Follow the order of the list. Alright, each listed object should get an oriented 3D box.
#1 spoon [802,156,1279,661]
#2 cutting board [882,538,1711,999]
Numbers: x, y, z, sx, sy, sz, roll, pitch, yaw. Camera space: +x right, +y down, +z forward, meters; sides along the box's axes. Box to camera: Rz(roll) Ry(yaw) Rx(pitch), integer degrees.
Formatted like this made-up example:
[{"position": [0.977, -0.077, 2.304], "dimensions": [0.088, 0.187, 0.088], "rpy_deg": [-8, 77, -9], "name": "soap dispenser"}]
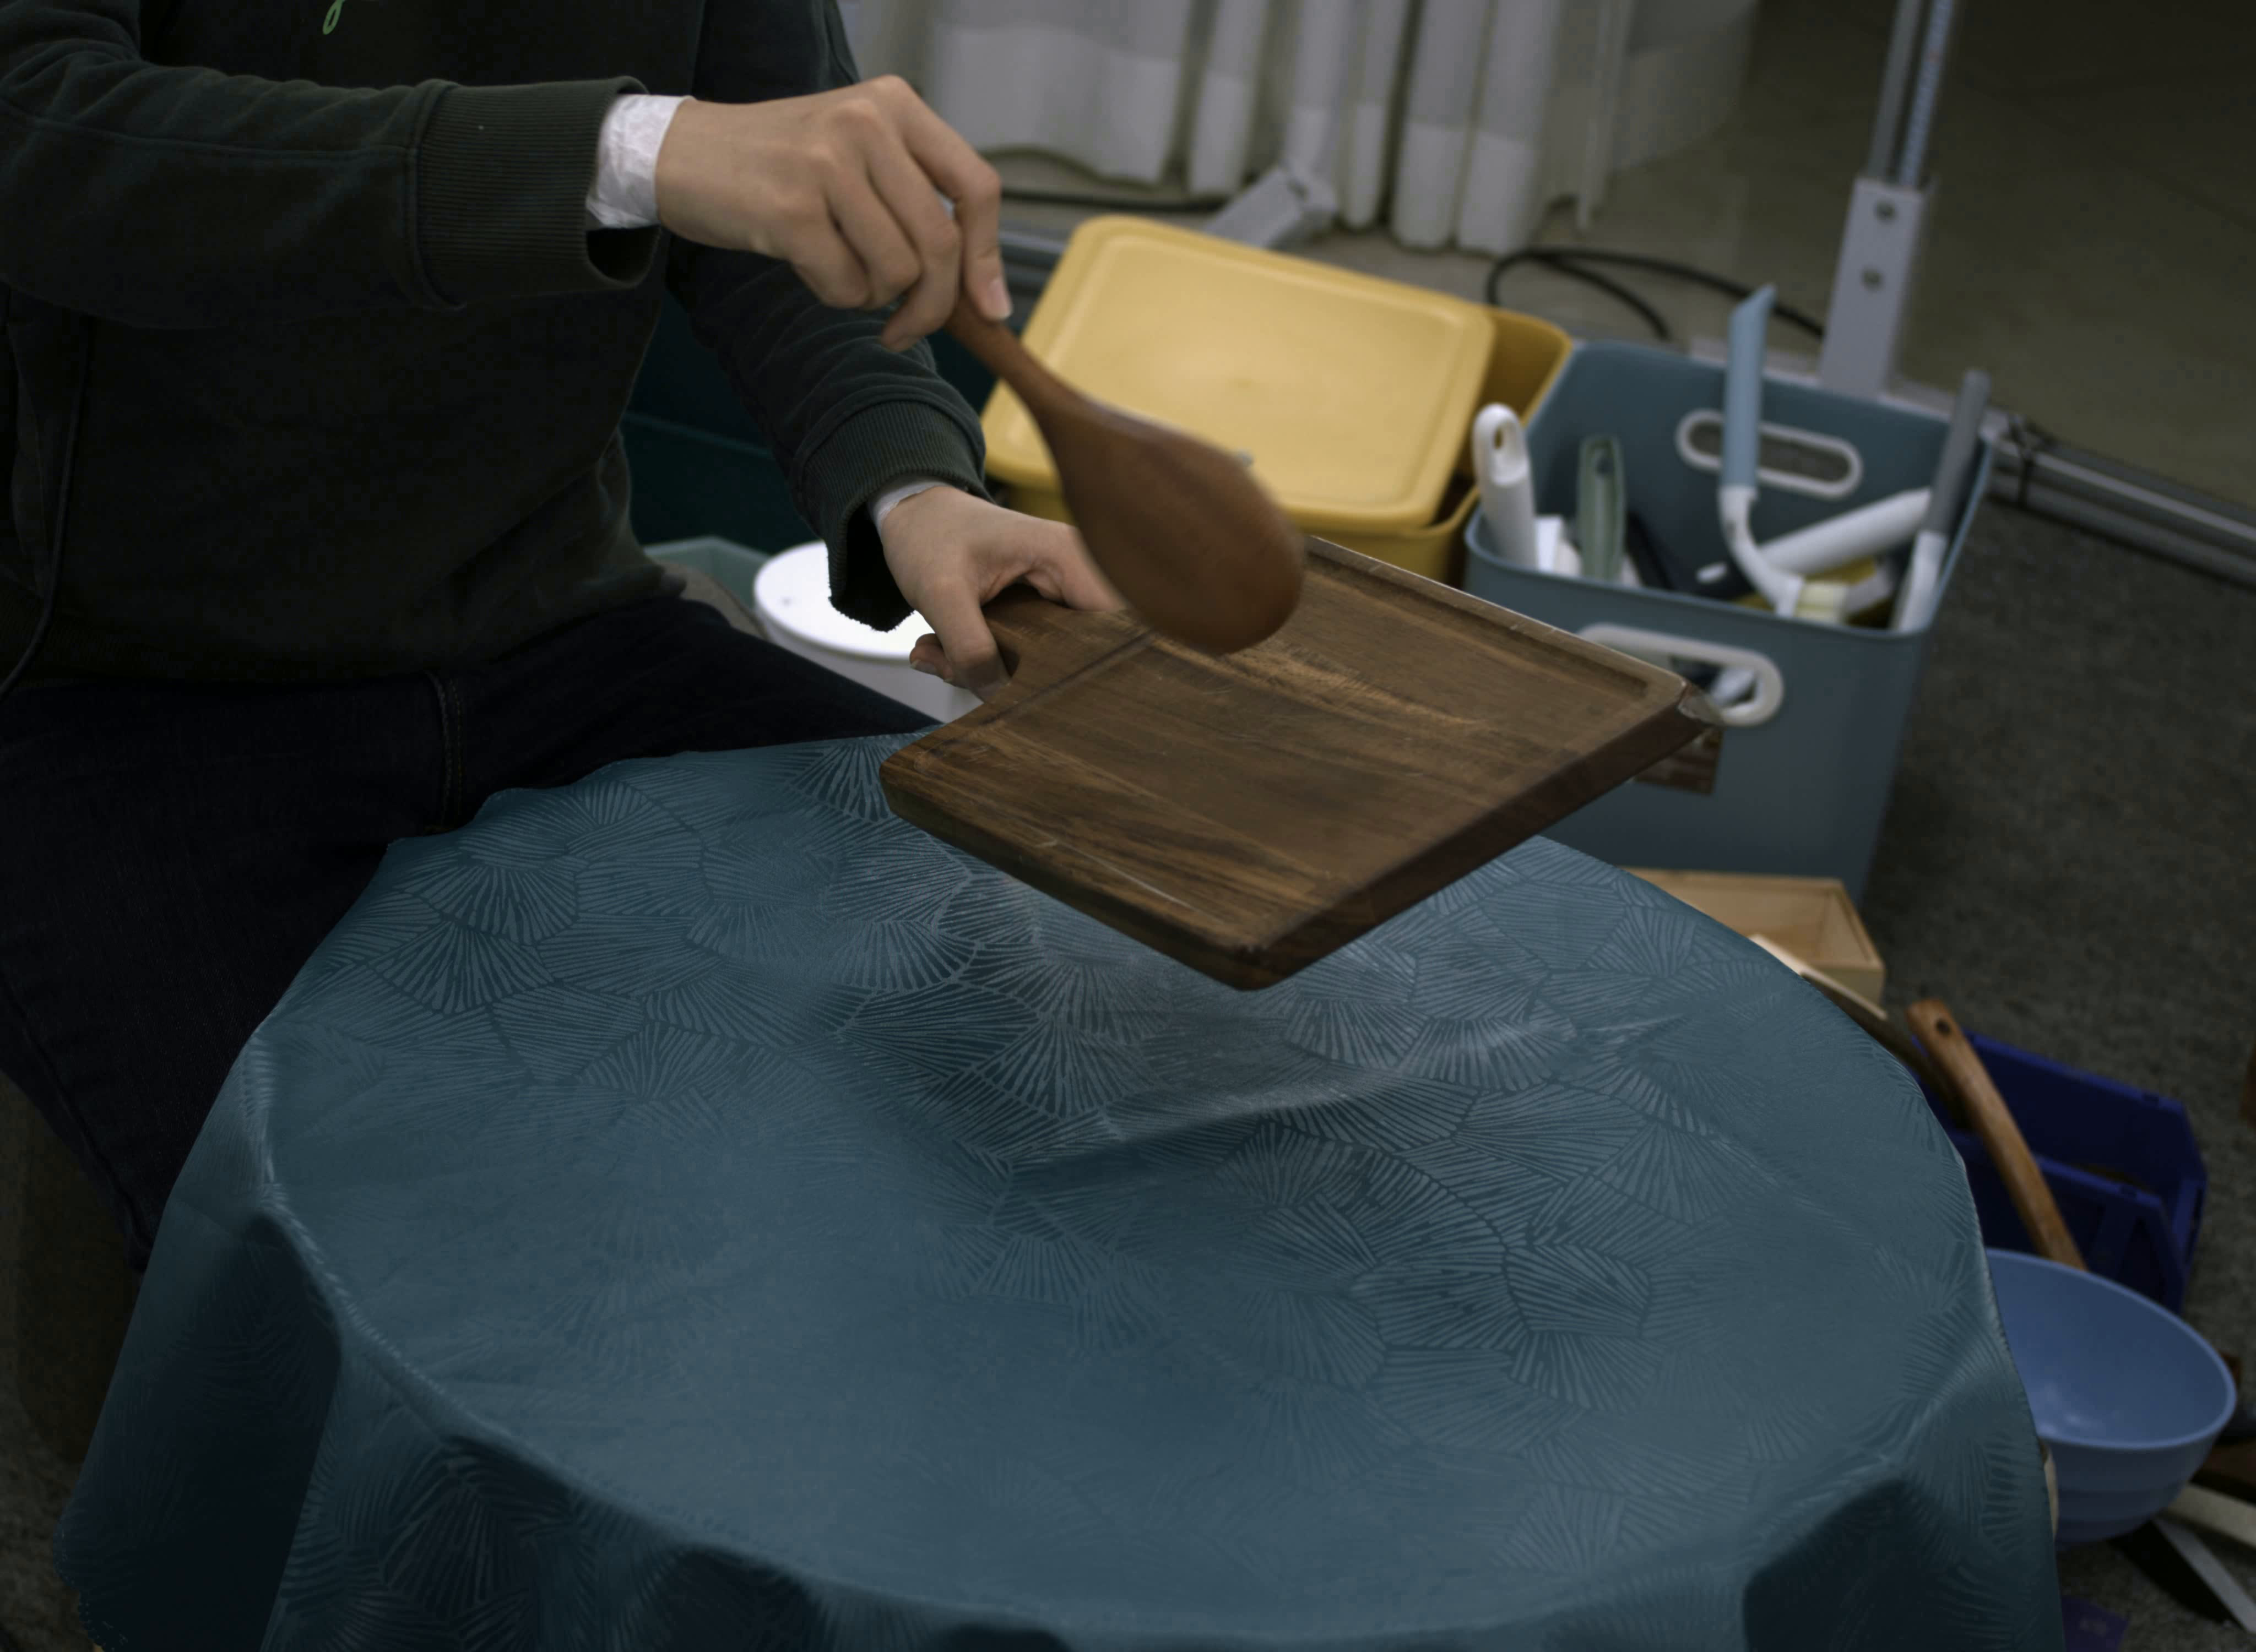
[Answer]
[{"position": [-0.032, -0.137, 1.774], "dimensions": [0.215, 0.075, 0.017], "rpy_deg": [48, 44, -6], "name": "spoon"}, {"position": [0.028, -0.037, 1.882], "dimensions": [0.200, 0.023, 0.355], "rpy_deg": [-31, 28, -21], "name": "cutting board"}]
